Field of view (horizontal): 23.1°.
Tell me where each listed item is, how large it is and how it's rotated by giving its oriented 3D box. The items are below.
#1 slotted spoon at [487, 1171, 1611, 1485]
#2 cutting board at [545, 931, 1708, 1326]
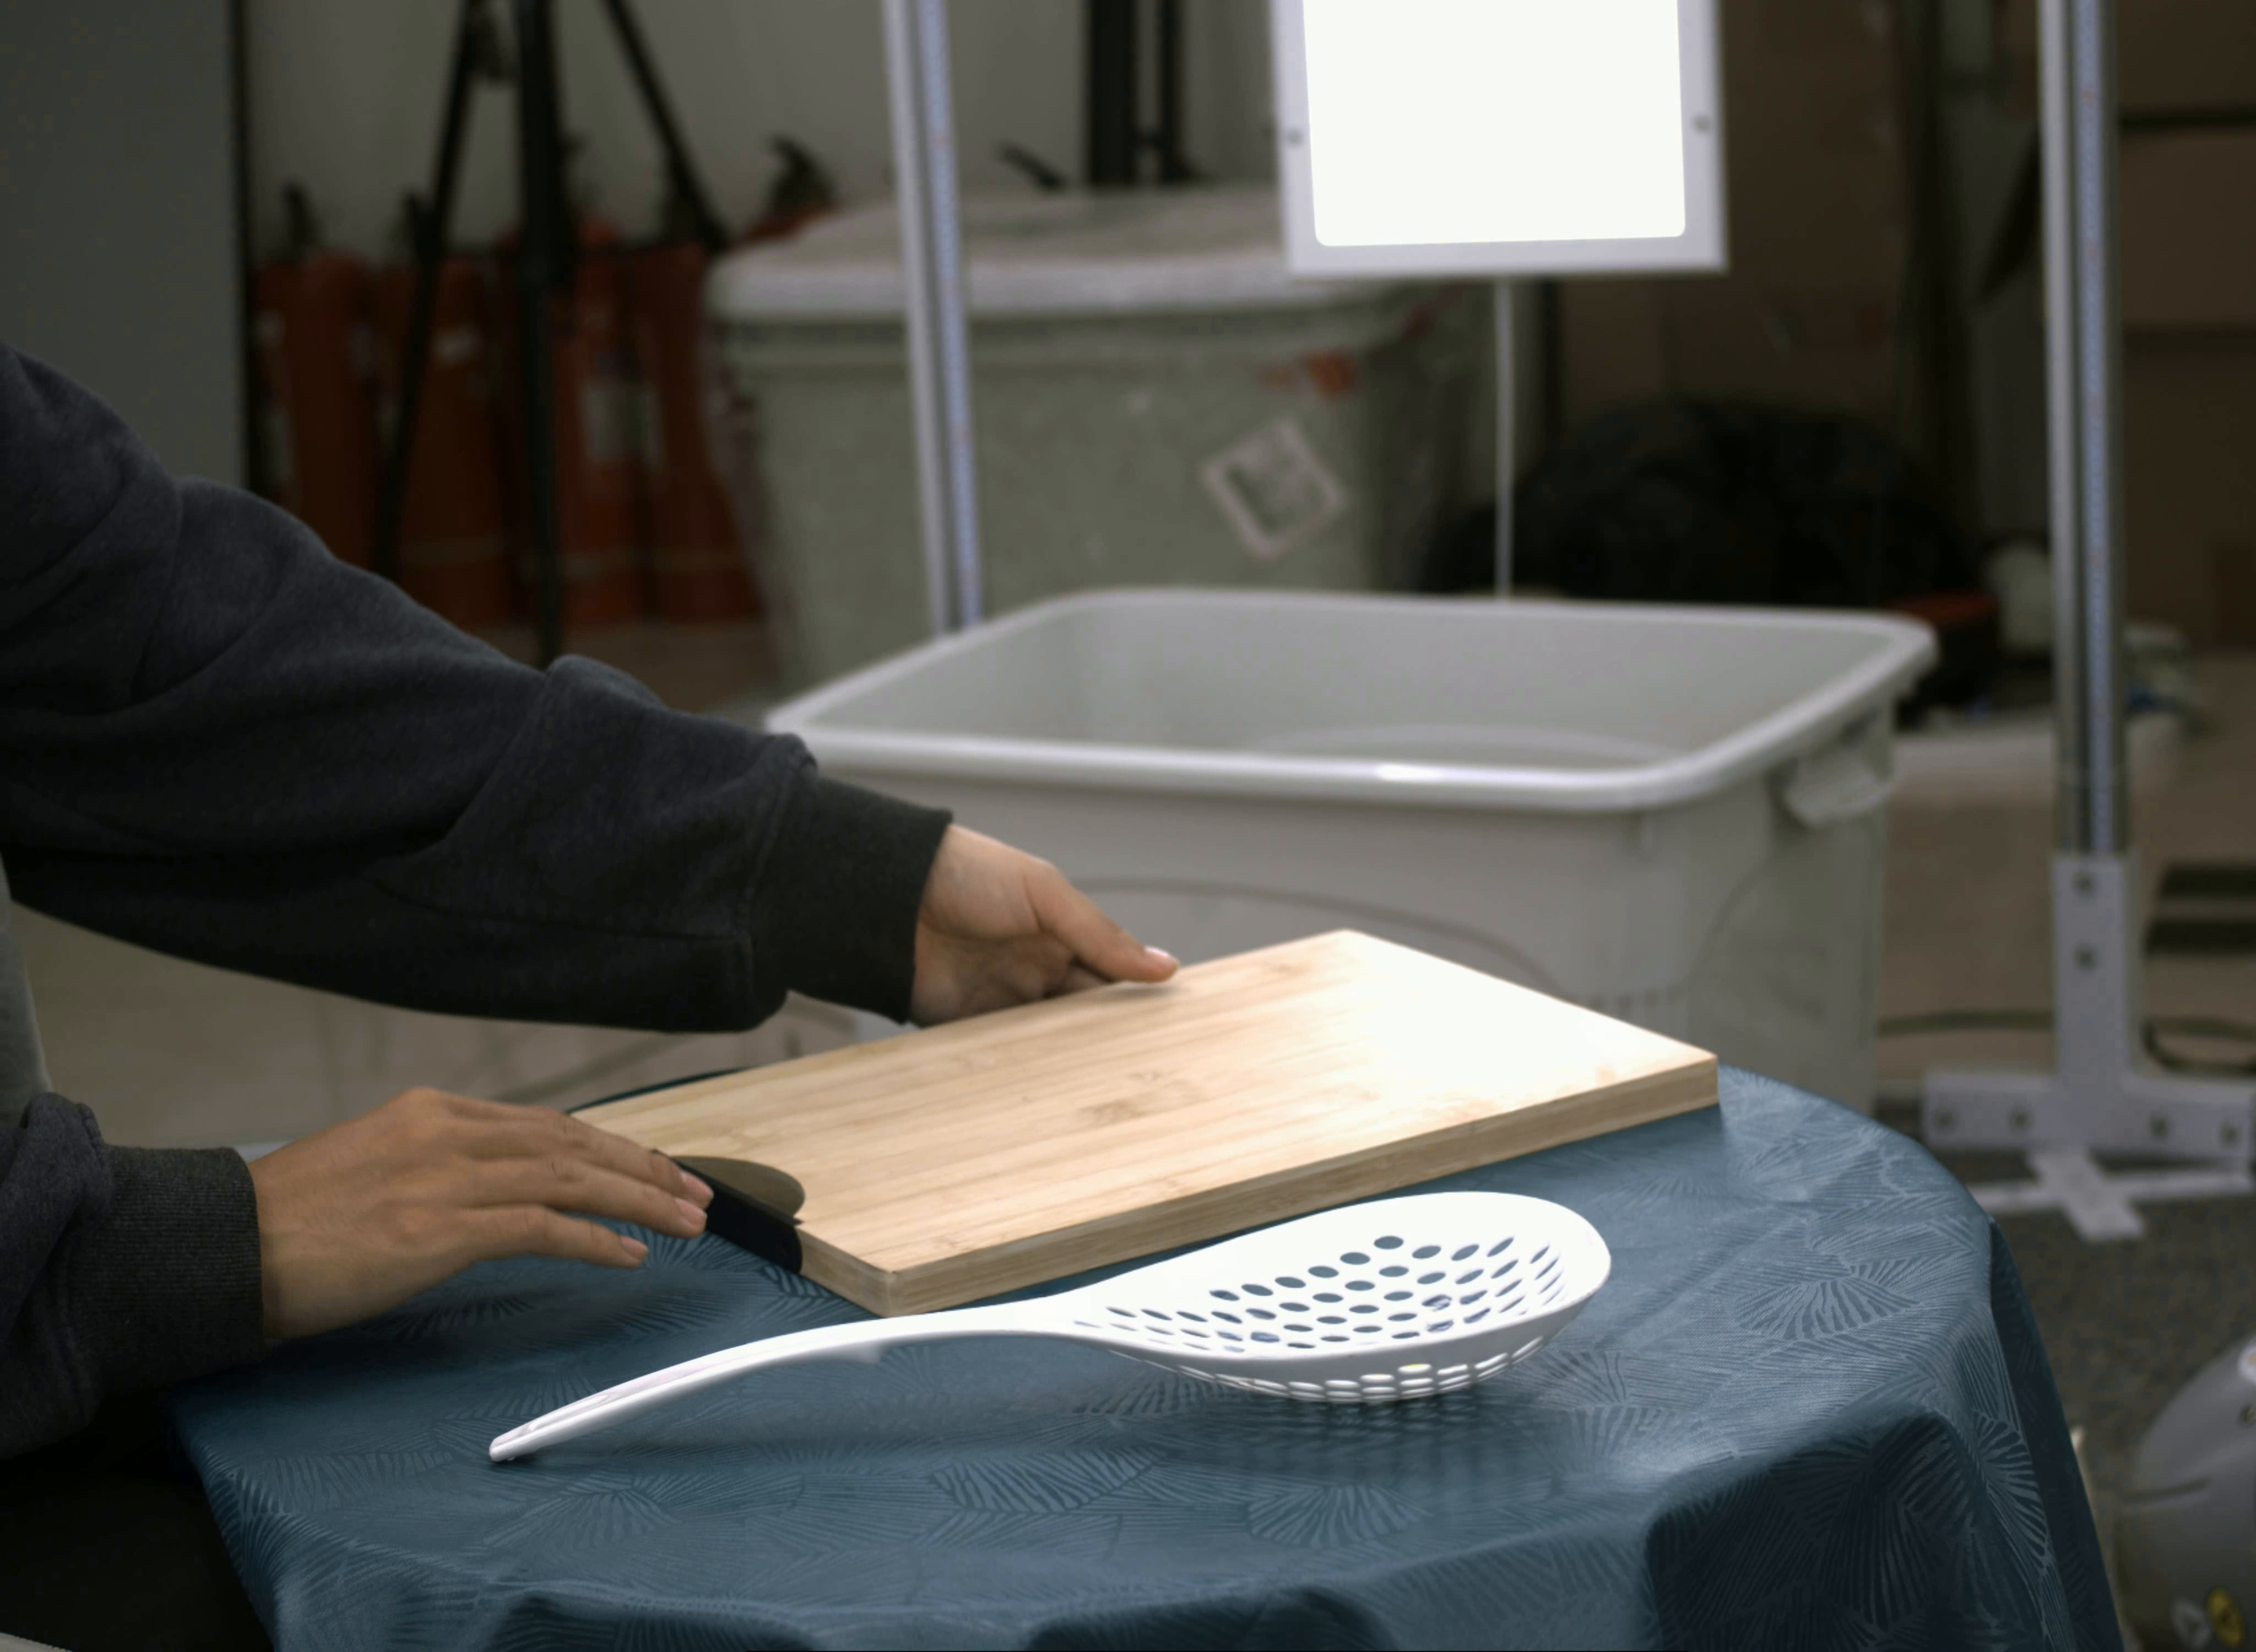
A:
[{"bbox_3d":[-0.024,0.160,1.682,0.347,0.050,0.136,-5,16,1],"label":"slotted spoon"},{"bbox_3d":[0.000,0.103,1.960,0.341,0.023,0.255,-13,15,-29],"label":"cutting board"}]
